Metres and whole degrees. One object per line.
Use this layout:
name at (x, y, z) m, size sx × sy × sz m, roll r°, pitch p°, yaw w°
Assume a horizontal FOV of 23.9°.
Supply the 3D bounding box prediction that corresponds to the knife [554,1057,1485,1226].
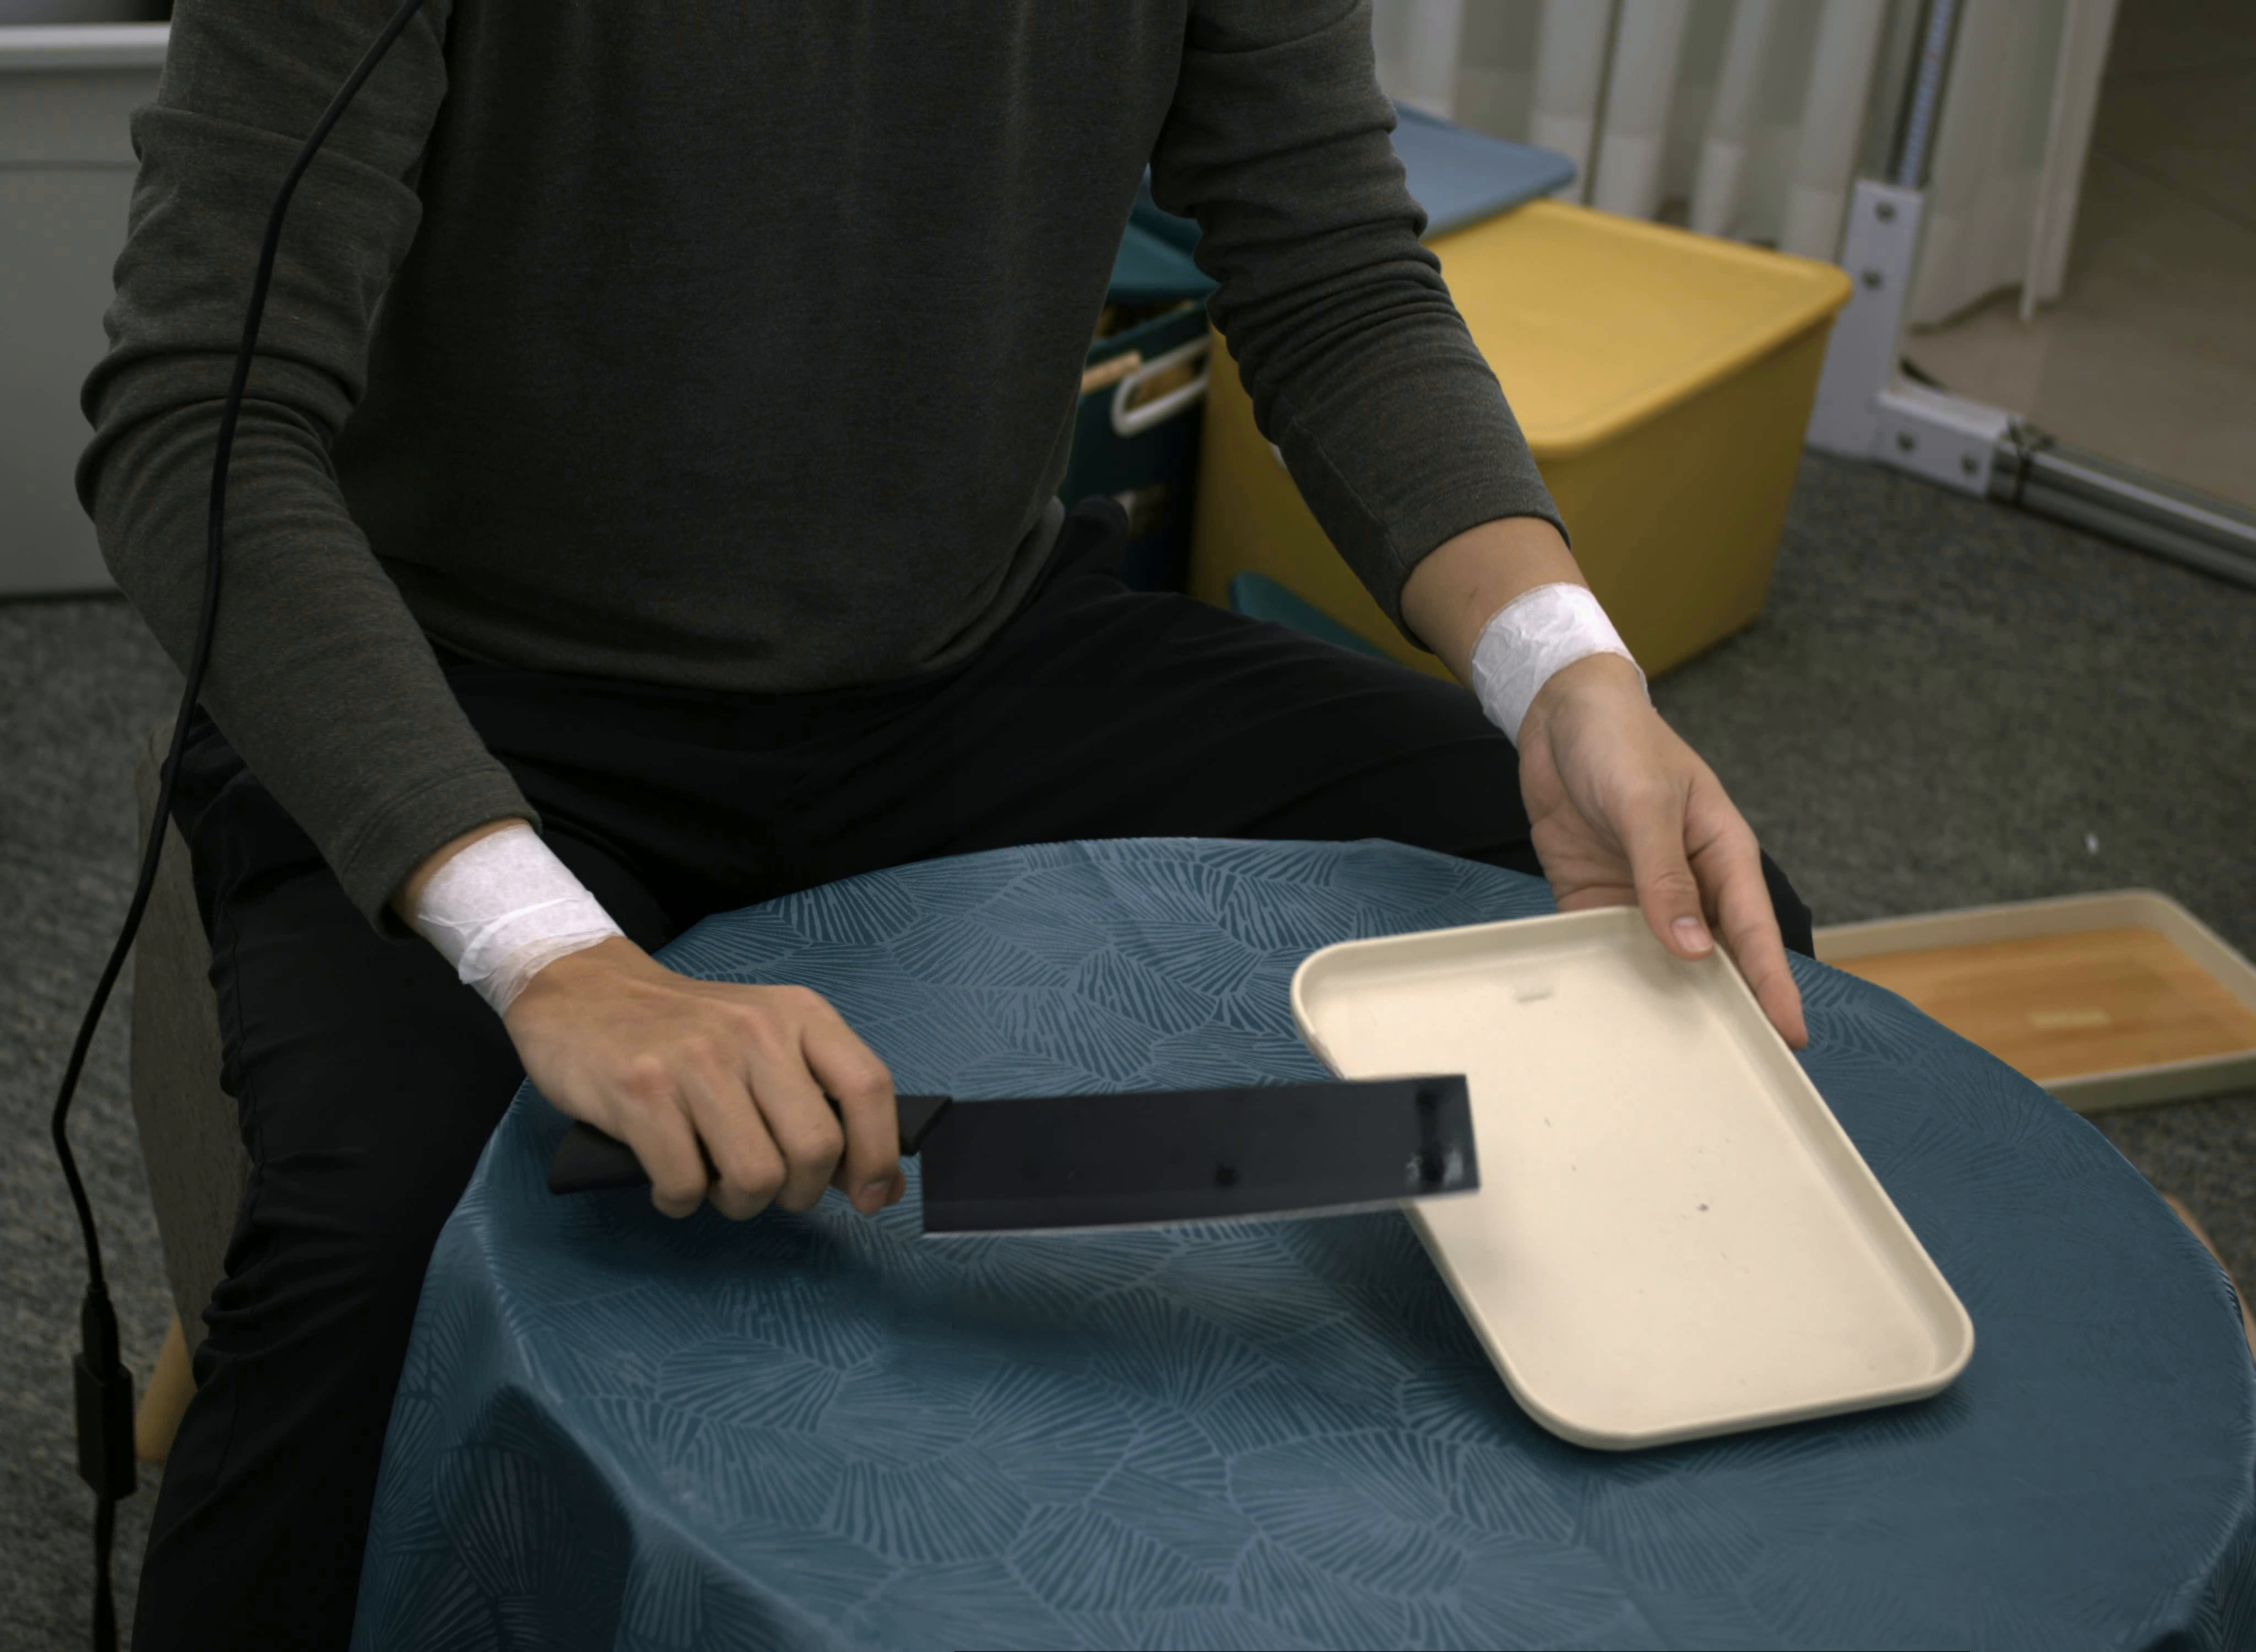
knife at (-0.036, 0.104, 1.726) m, size 0.302 × 0.021 × 0.081 m, roll -2°, pitch 36°, yaw 4°

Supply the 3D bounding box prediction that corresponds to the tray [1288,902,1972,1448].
tray at (0.165, 0.115, 1.786) m, size 0.170 × 0.017 × 0.242 m, roll -6°, pitch 42°, yaw -23°
